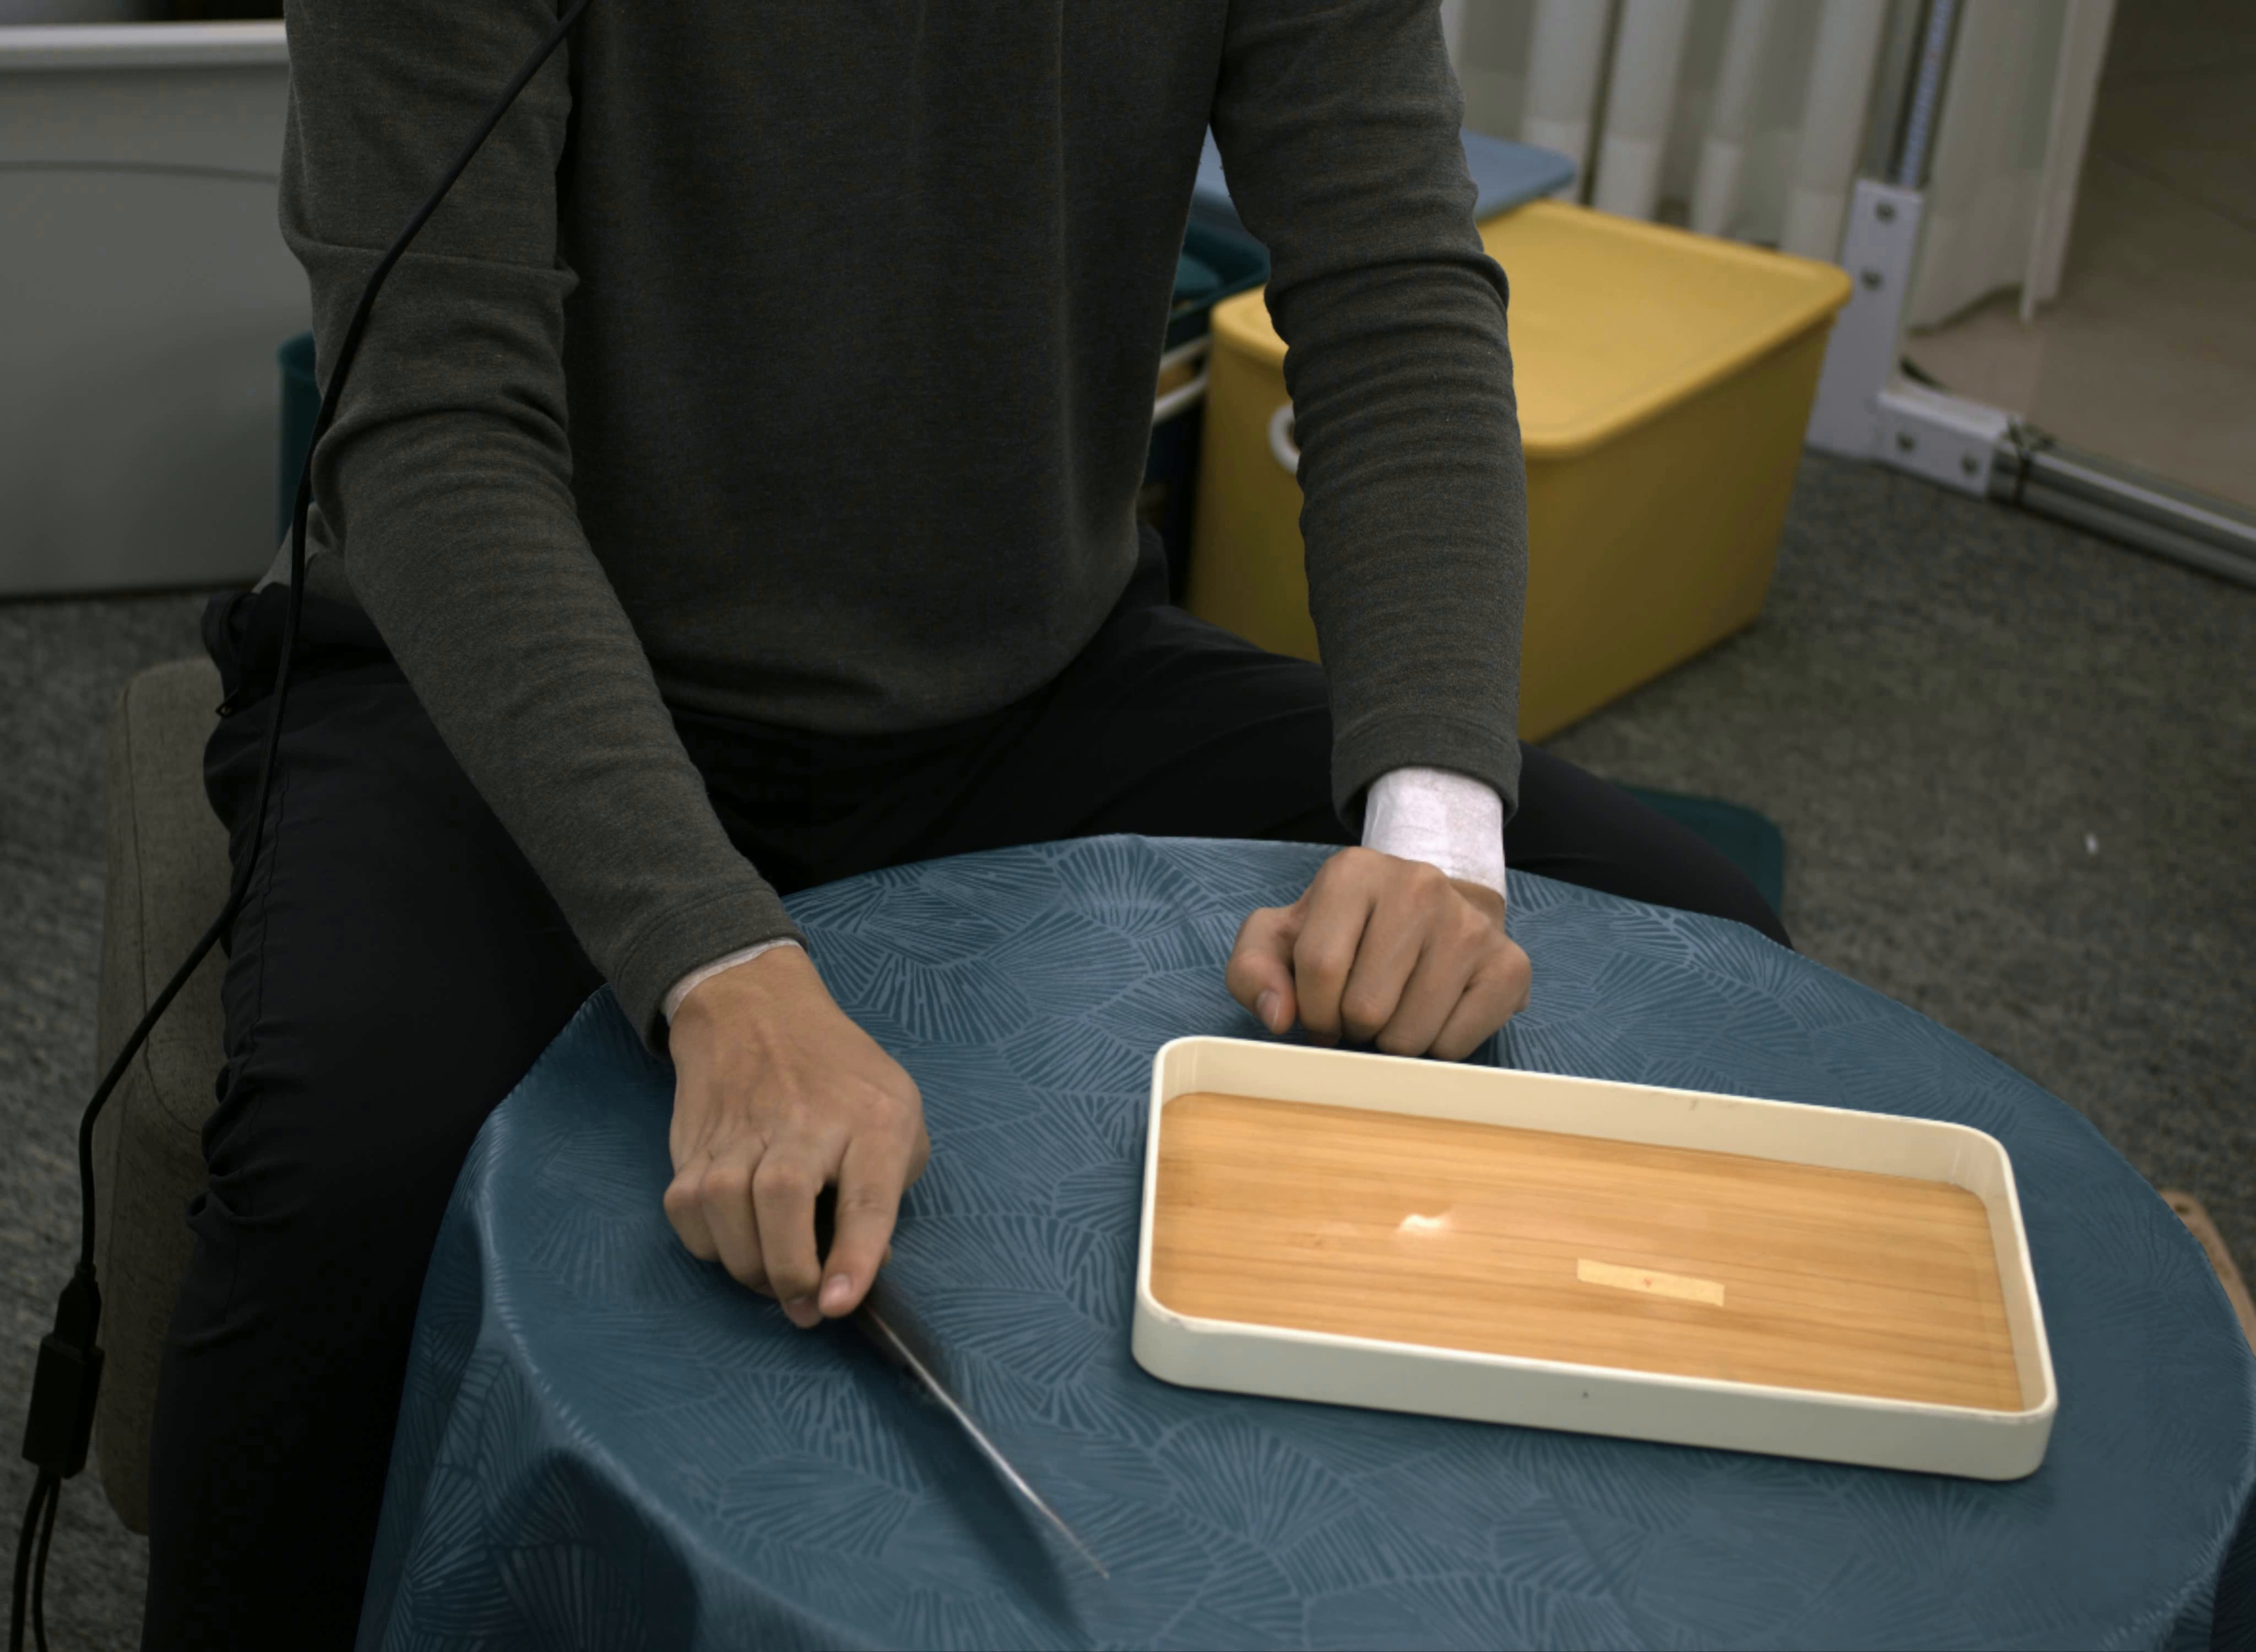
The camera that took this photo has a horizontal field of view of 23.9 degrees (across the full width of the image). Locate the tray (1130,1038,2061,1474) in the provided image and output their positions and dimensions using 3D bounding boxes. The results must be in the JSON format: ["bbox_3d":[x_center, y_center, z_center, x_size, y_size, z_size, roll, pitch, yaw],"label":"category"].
[{"bbox_3d":[0.153,0.141,1.776,0.299,0.027,0.192,7,26,0],"label":"tray"}]

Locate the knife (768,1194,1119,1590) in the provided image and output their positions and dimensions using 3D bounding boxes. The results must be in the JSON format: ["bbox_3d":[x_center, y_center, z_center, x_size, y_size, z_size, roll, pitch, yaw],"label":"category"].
[{"bbox_3d":[-0.060,0.174,1.662,0.024,0.016,0.240,39,2,-38],"label":"knife"}]
